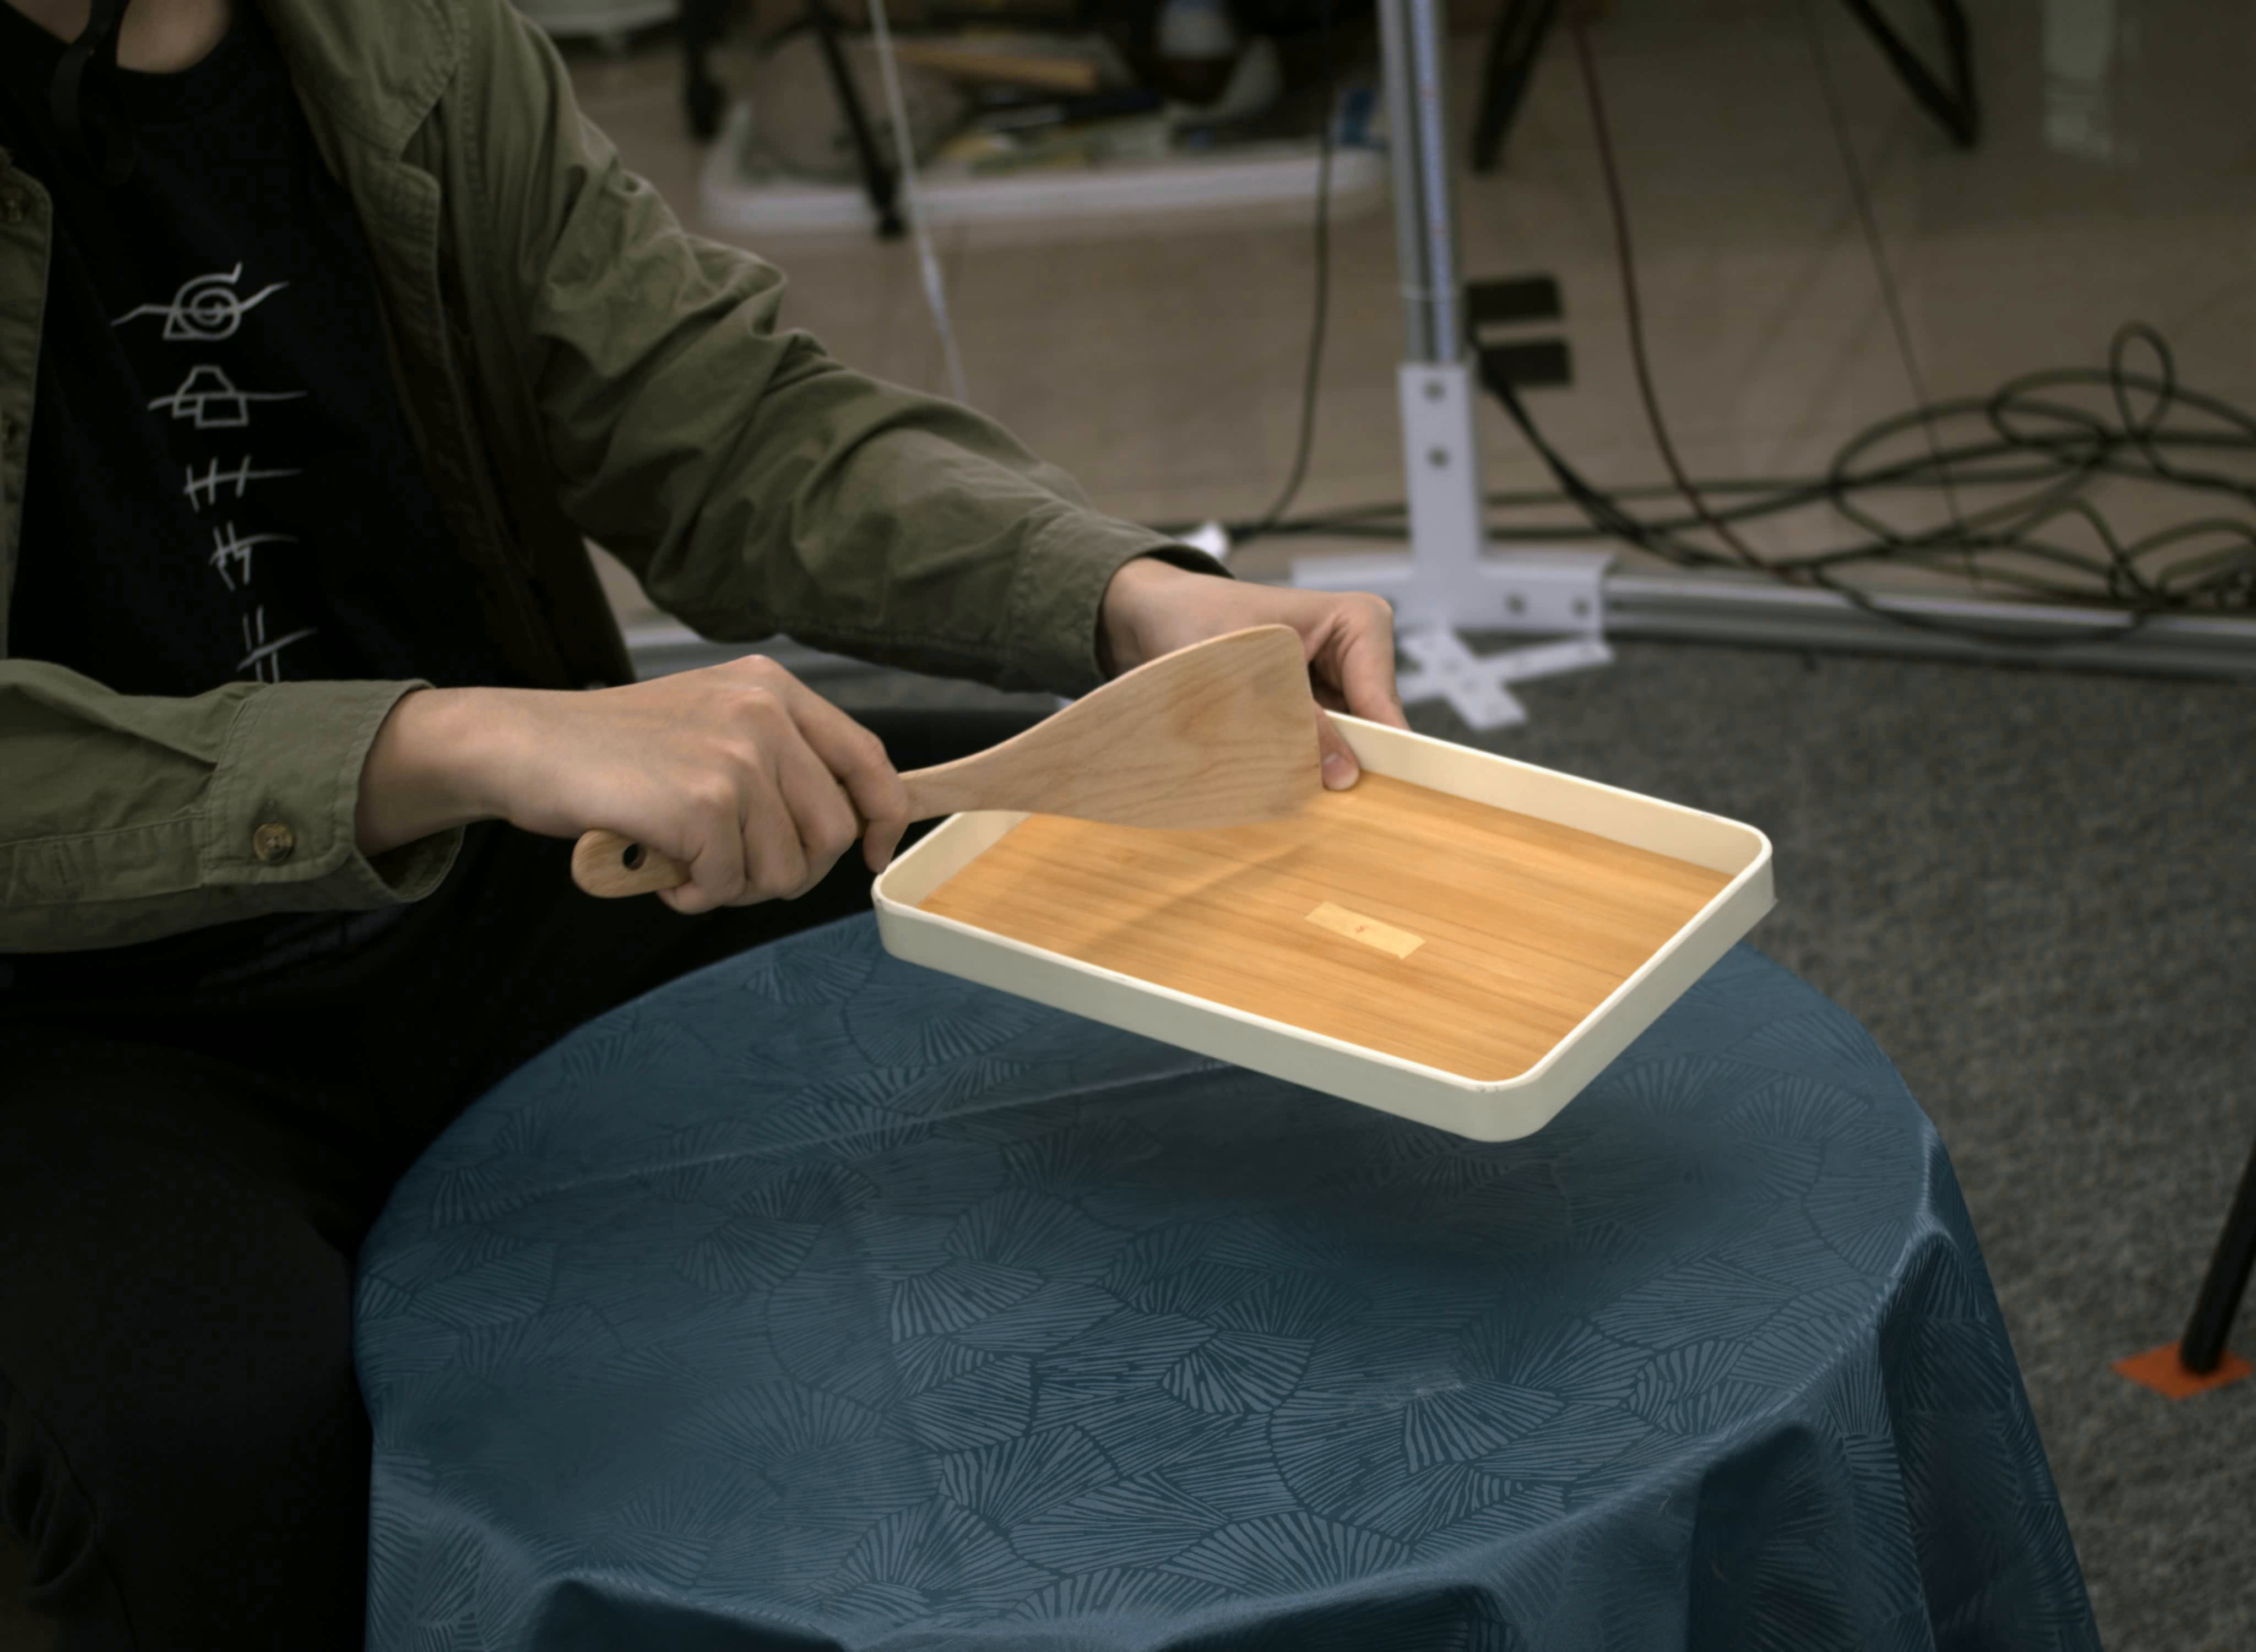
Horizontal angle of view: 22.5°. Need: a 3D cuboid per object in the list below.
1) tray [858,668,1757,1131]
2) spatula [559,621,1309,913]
[{"bbox_3d":[0.066,0.023,2.125,0.298,0.028,0.189,16,39,35],"label":"tray"},{"bbox_3d":[-0.065,-0.013,2.052,0.326,0.081,0.016,-14,27,-35],"label":"spatula"}]
